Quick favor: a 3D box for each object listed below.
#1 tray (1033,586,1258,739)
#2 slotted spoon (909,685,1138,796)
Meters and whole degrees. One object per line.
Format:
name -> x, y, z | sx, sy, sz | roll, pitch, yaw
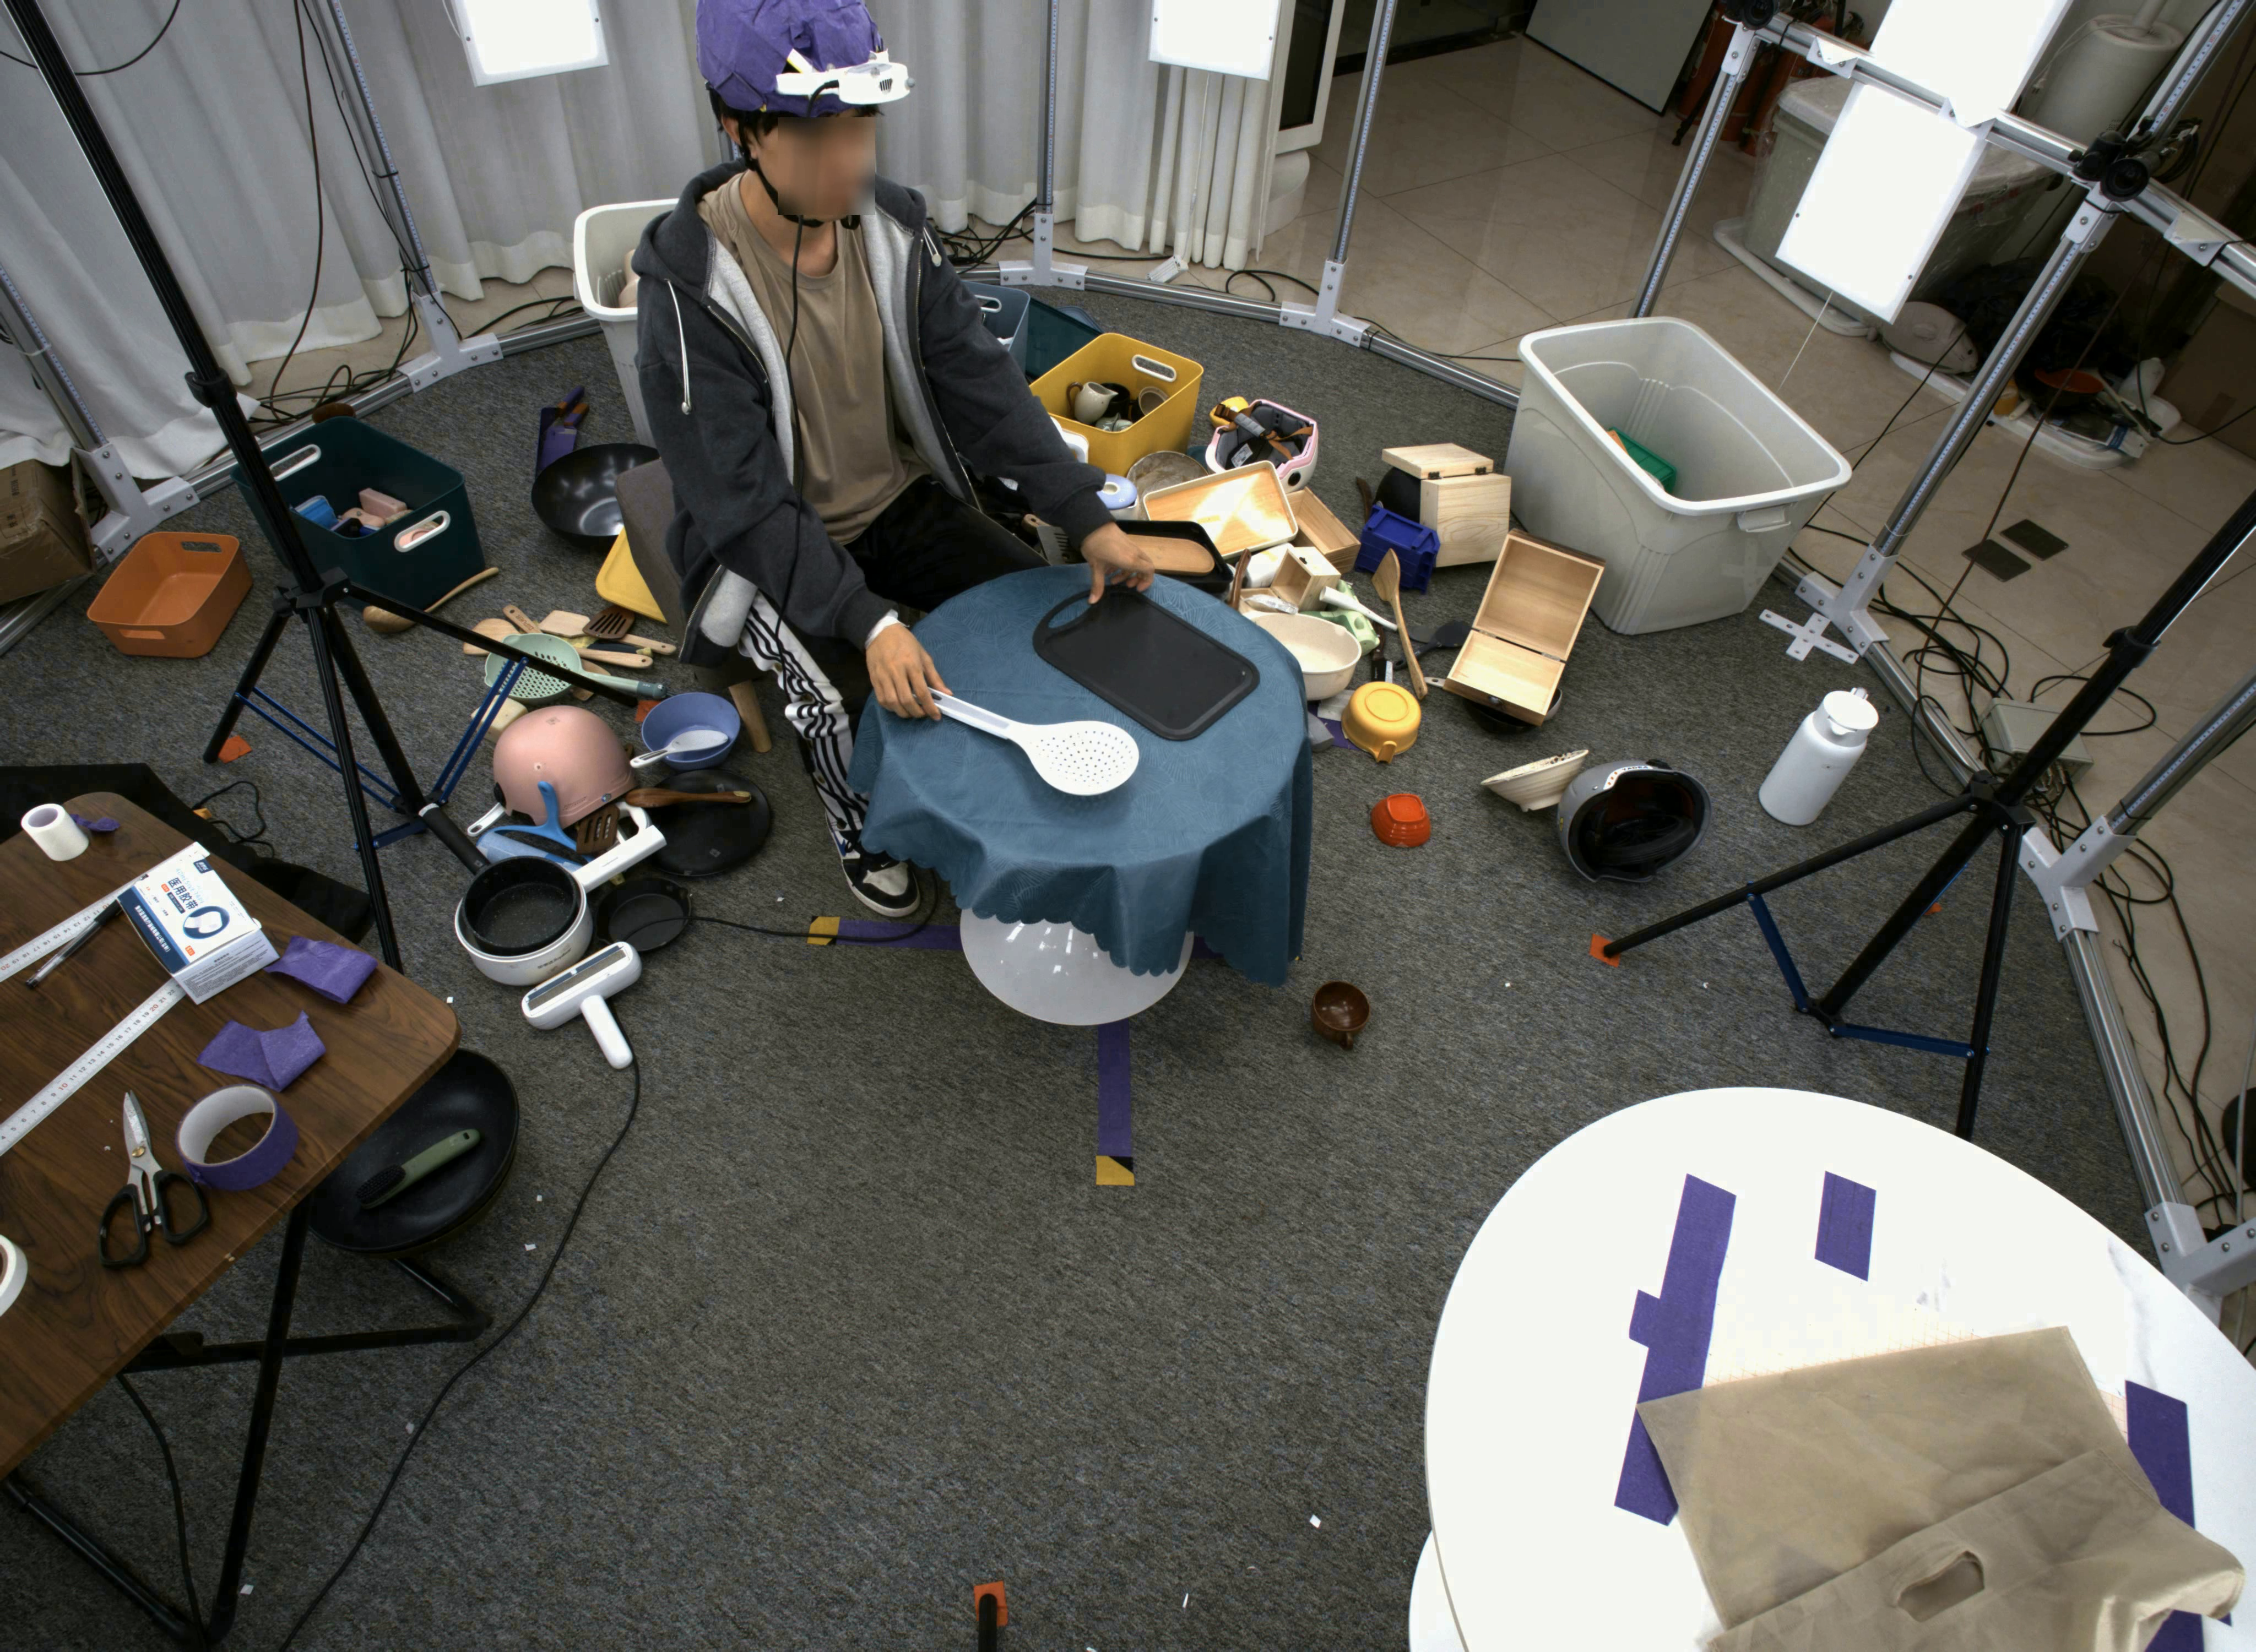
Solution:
tray -> 0.018, -0.250, 1.881 | 0.330, 0.009, 0.213 | 36, 56, 24
slotted spoon -> -0.148, -0.124, 1.734 | 0.352, 0.044, 0.138 | 25, 51, 18
